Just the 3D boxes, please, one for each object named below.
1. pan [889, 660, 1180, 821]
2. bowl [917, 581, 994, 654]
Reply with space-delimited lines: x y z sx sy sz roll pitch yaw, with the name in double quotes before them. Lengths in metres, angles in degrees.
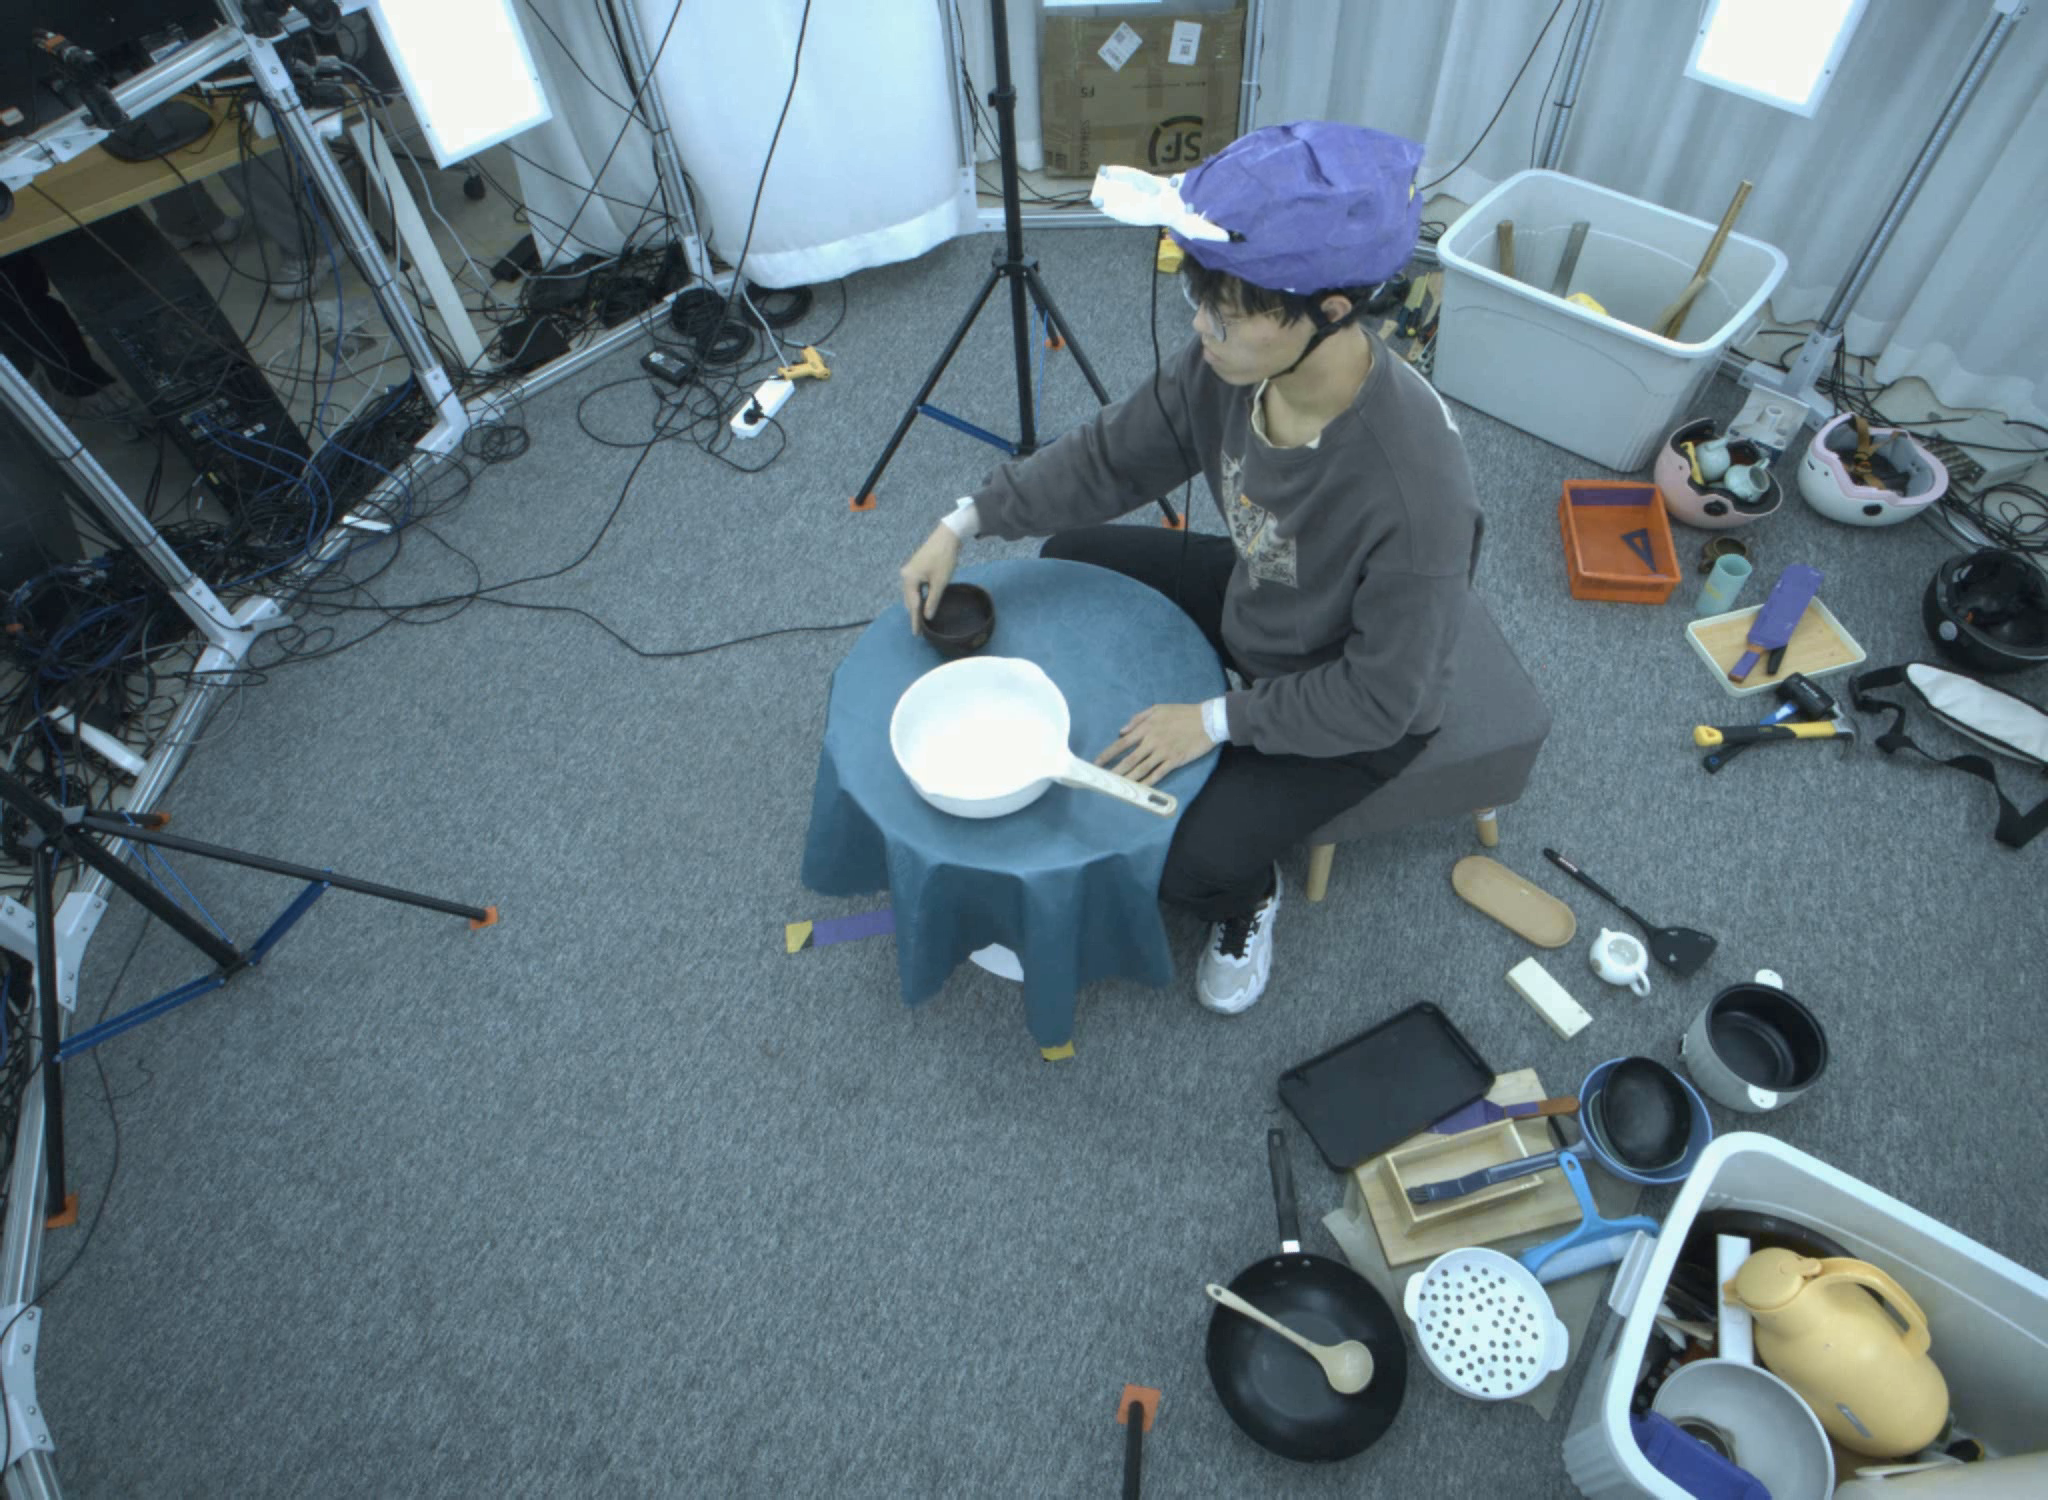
"pan" 0.016 0.024 1.706 0.429 0.103 0.264 25 57 19
"bowl" -0.103 -0.195 1.884 0.118 0.070 0.117 -1 53 3
